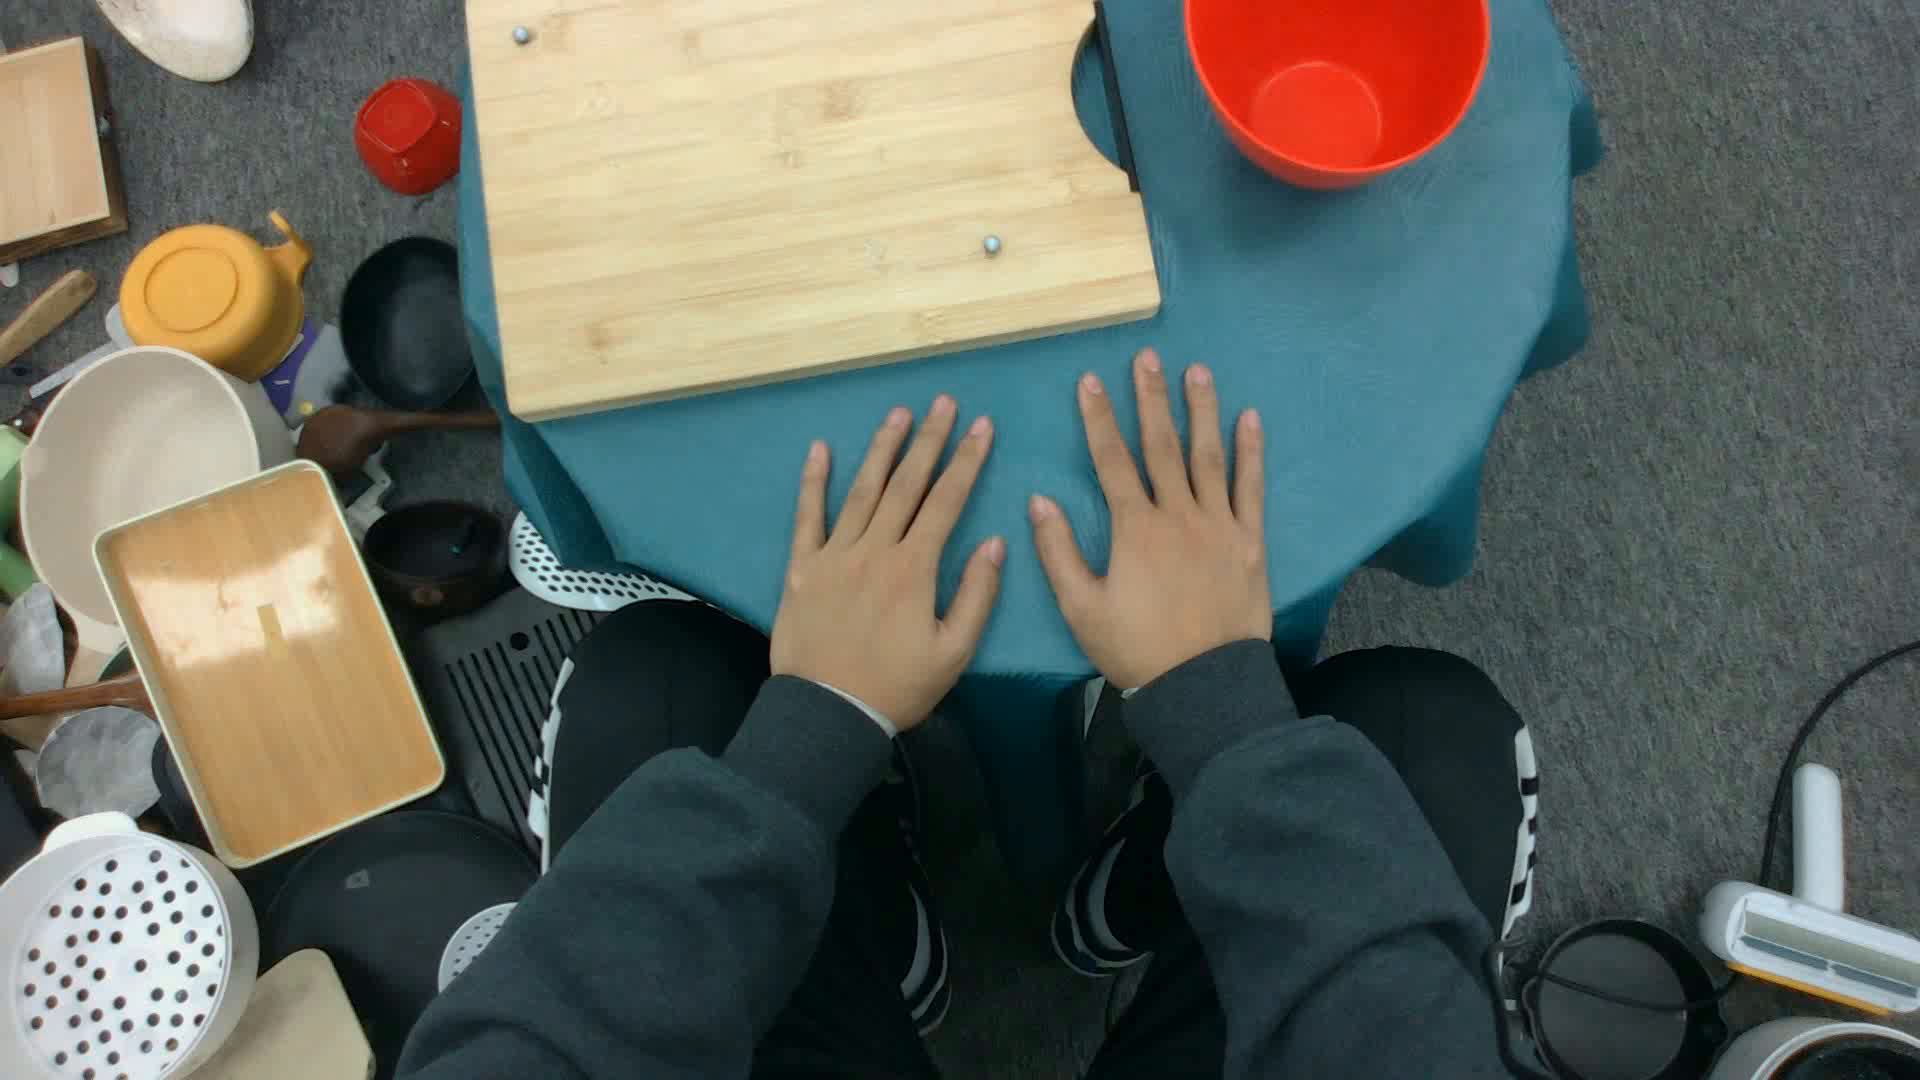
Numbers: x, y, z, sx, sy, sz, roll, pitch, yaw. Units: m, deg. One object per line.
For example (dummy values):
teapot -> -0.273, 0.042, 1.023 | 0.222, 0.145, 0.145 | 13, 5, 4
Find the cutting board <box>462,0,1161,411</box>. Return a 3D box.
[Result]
cutting board -> -0.087, -0.213, 0.737 | 0.349, 0.023, 0.251 | -11, 79, -1

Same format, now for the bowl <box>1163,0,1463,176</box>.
bowl -> 0.170, -0.247, 0.695 | 0.148, 0.104, 0.148 | 0, 78, 0
